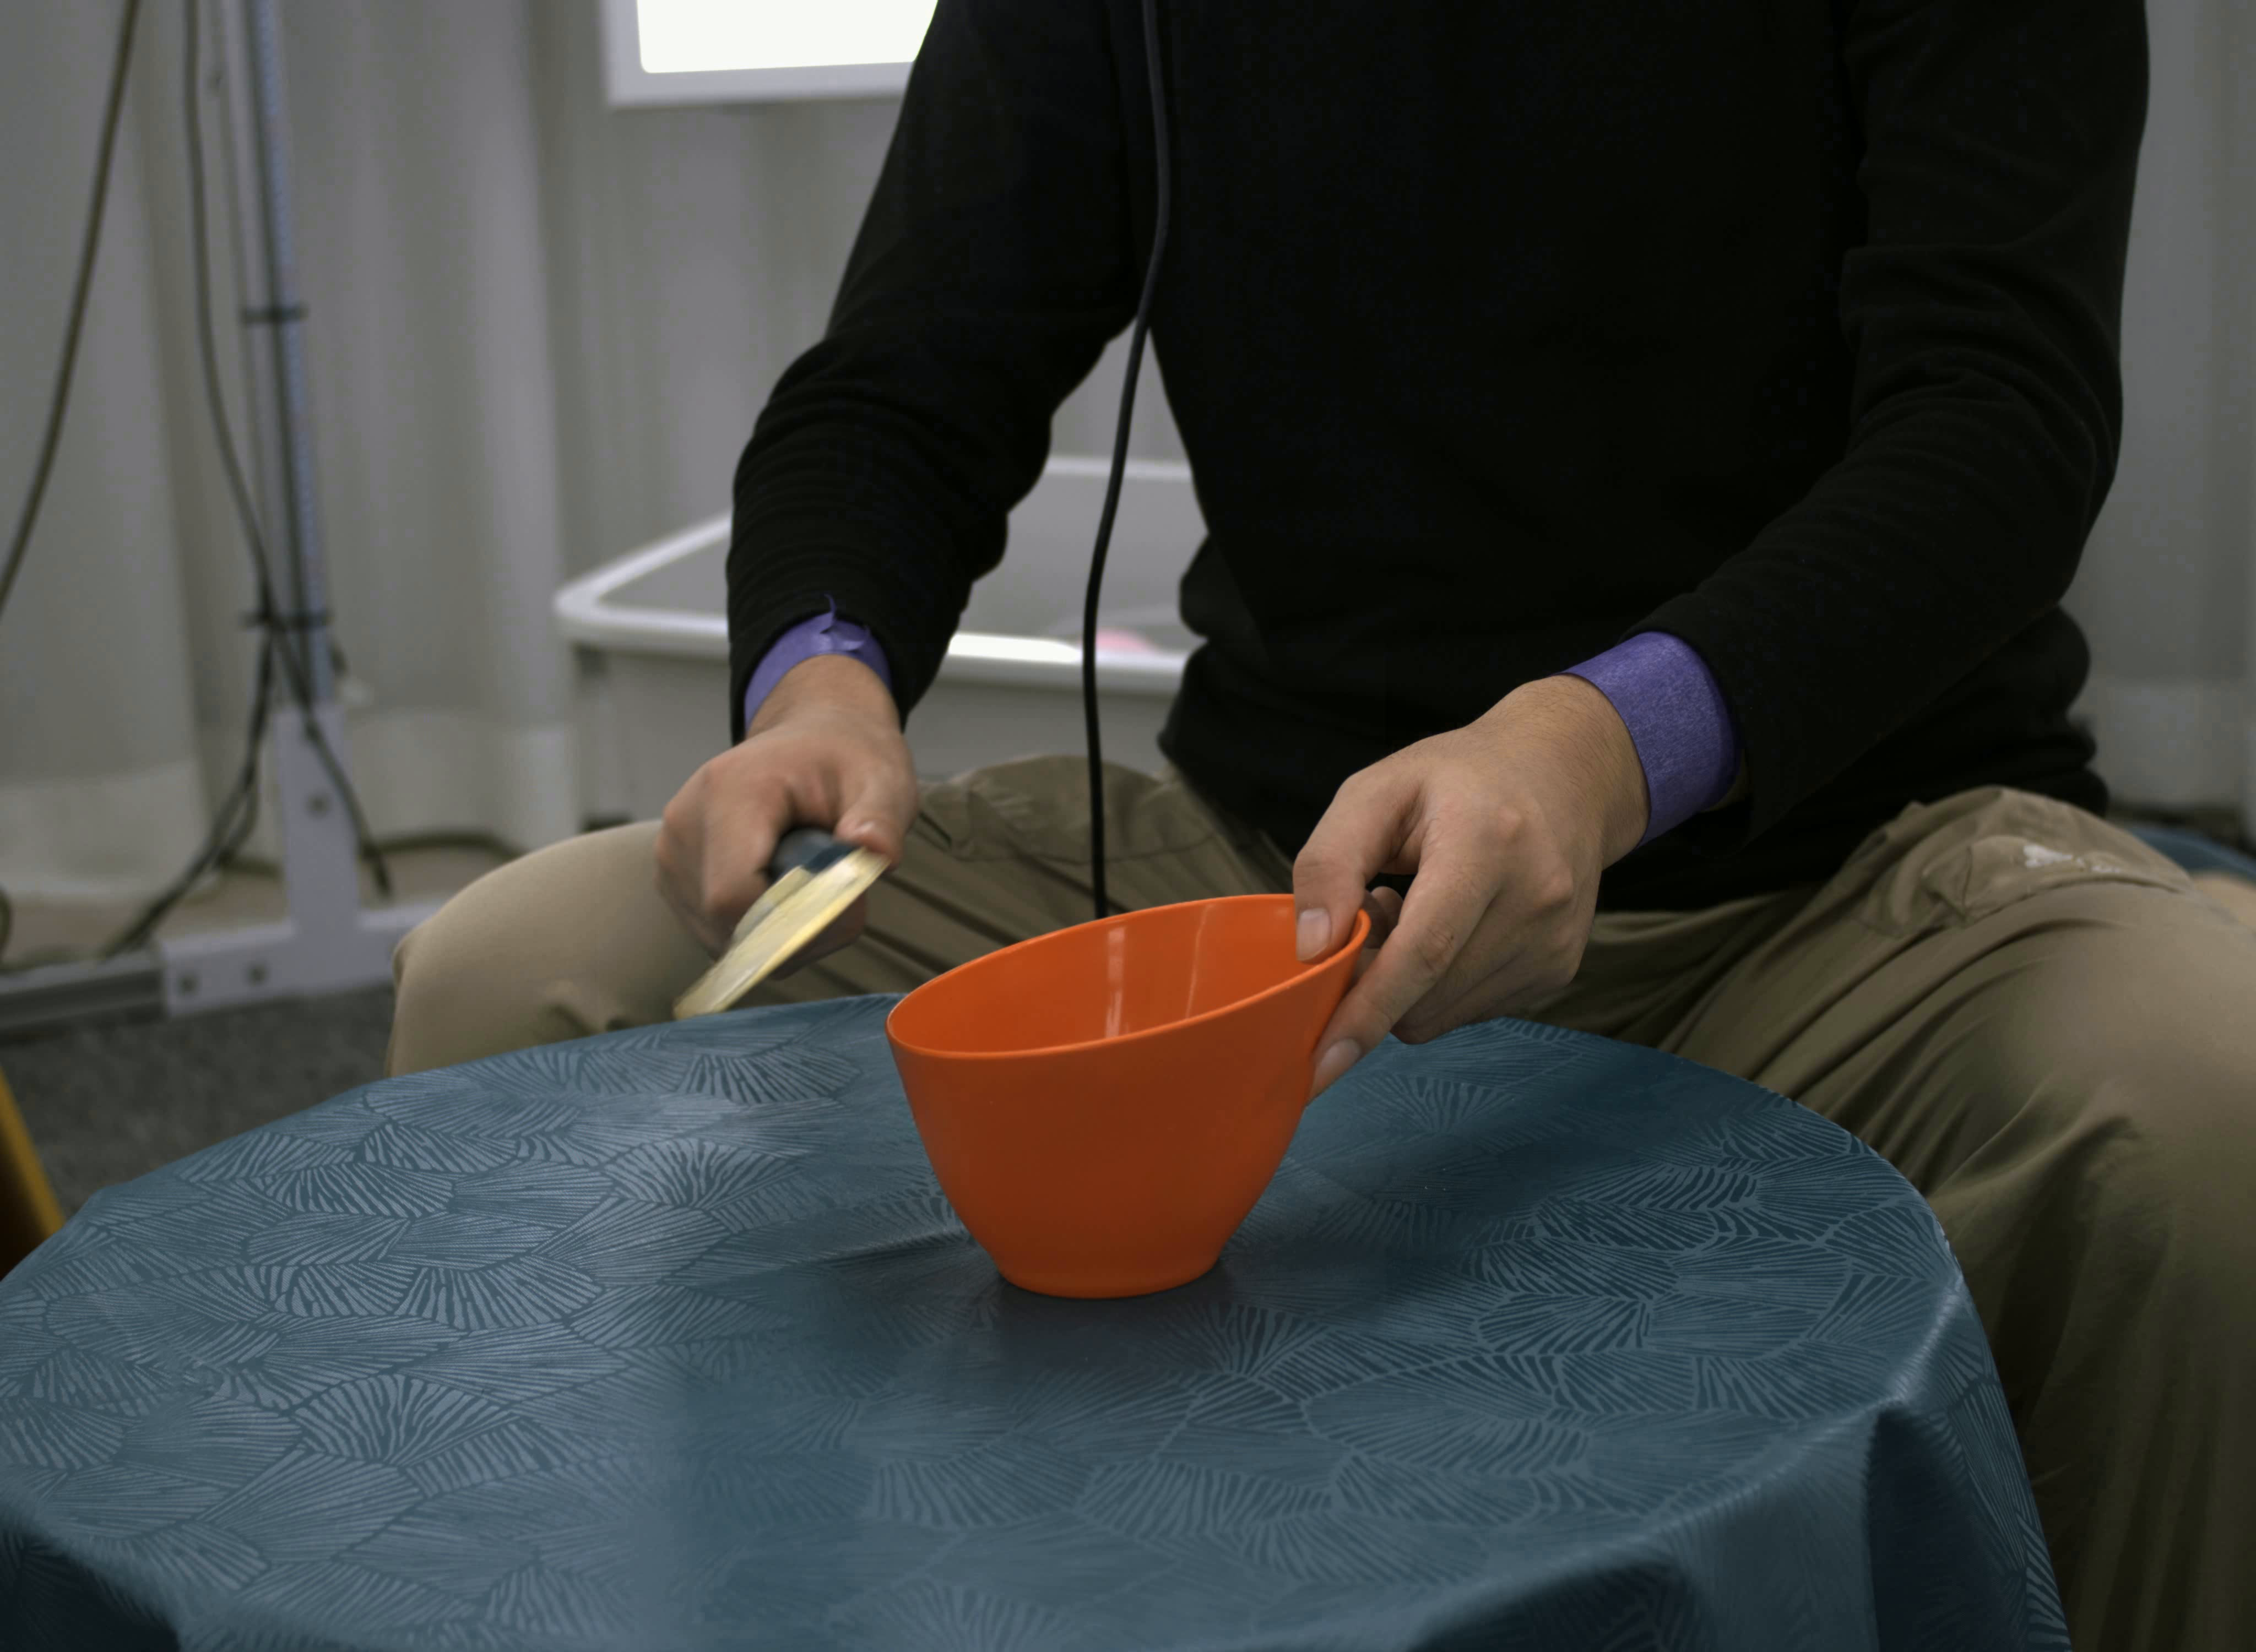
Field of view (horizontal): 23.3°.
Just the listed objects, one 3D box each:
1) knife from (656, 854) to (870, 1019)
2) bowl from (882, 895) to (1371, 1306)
[{"bbox_3d":[-0.114,0.036,1.707,0.081,0.027,0.290,-34,4,-1],"label":"knife"},{"bbox_3d":[0.001,0.084,1.634,0.147,0.104,0.149,-4,16,1],"label":"bowl"}]
